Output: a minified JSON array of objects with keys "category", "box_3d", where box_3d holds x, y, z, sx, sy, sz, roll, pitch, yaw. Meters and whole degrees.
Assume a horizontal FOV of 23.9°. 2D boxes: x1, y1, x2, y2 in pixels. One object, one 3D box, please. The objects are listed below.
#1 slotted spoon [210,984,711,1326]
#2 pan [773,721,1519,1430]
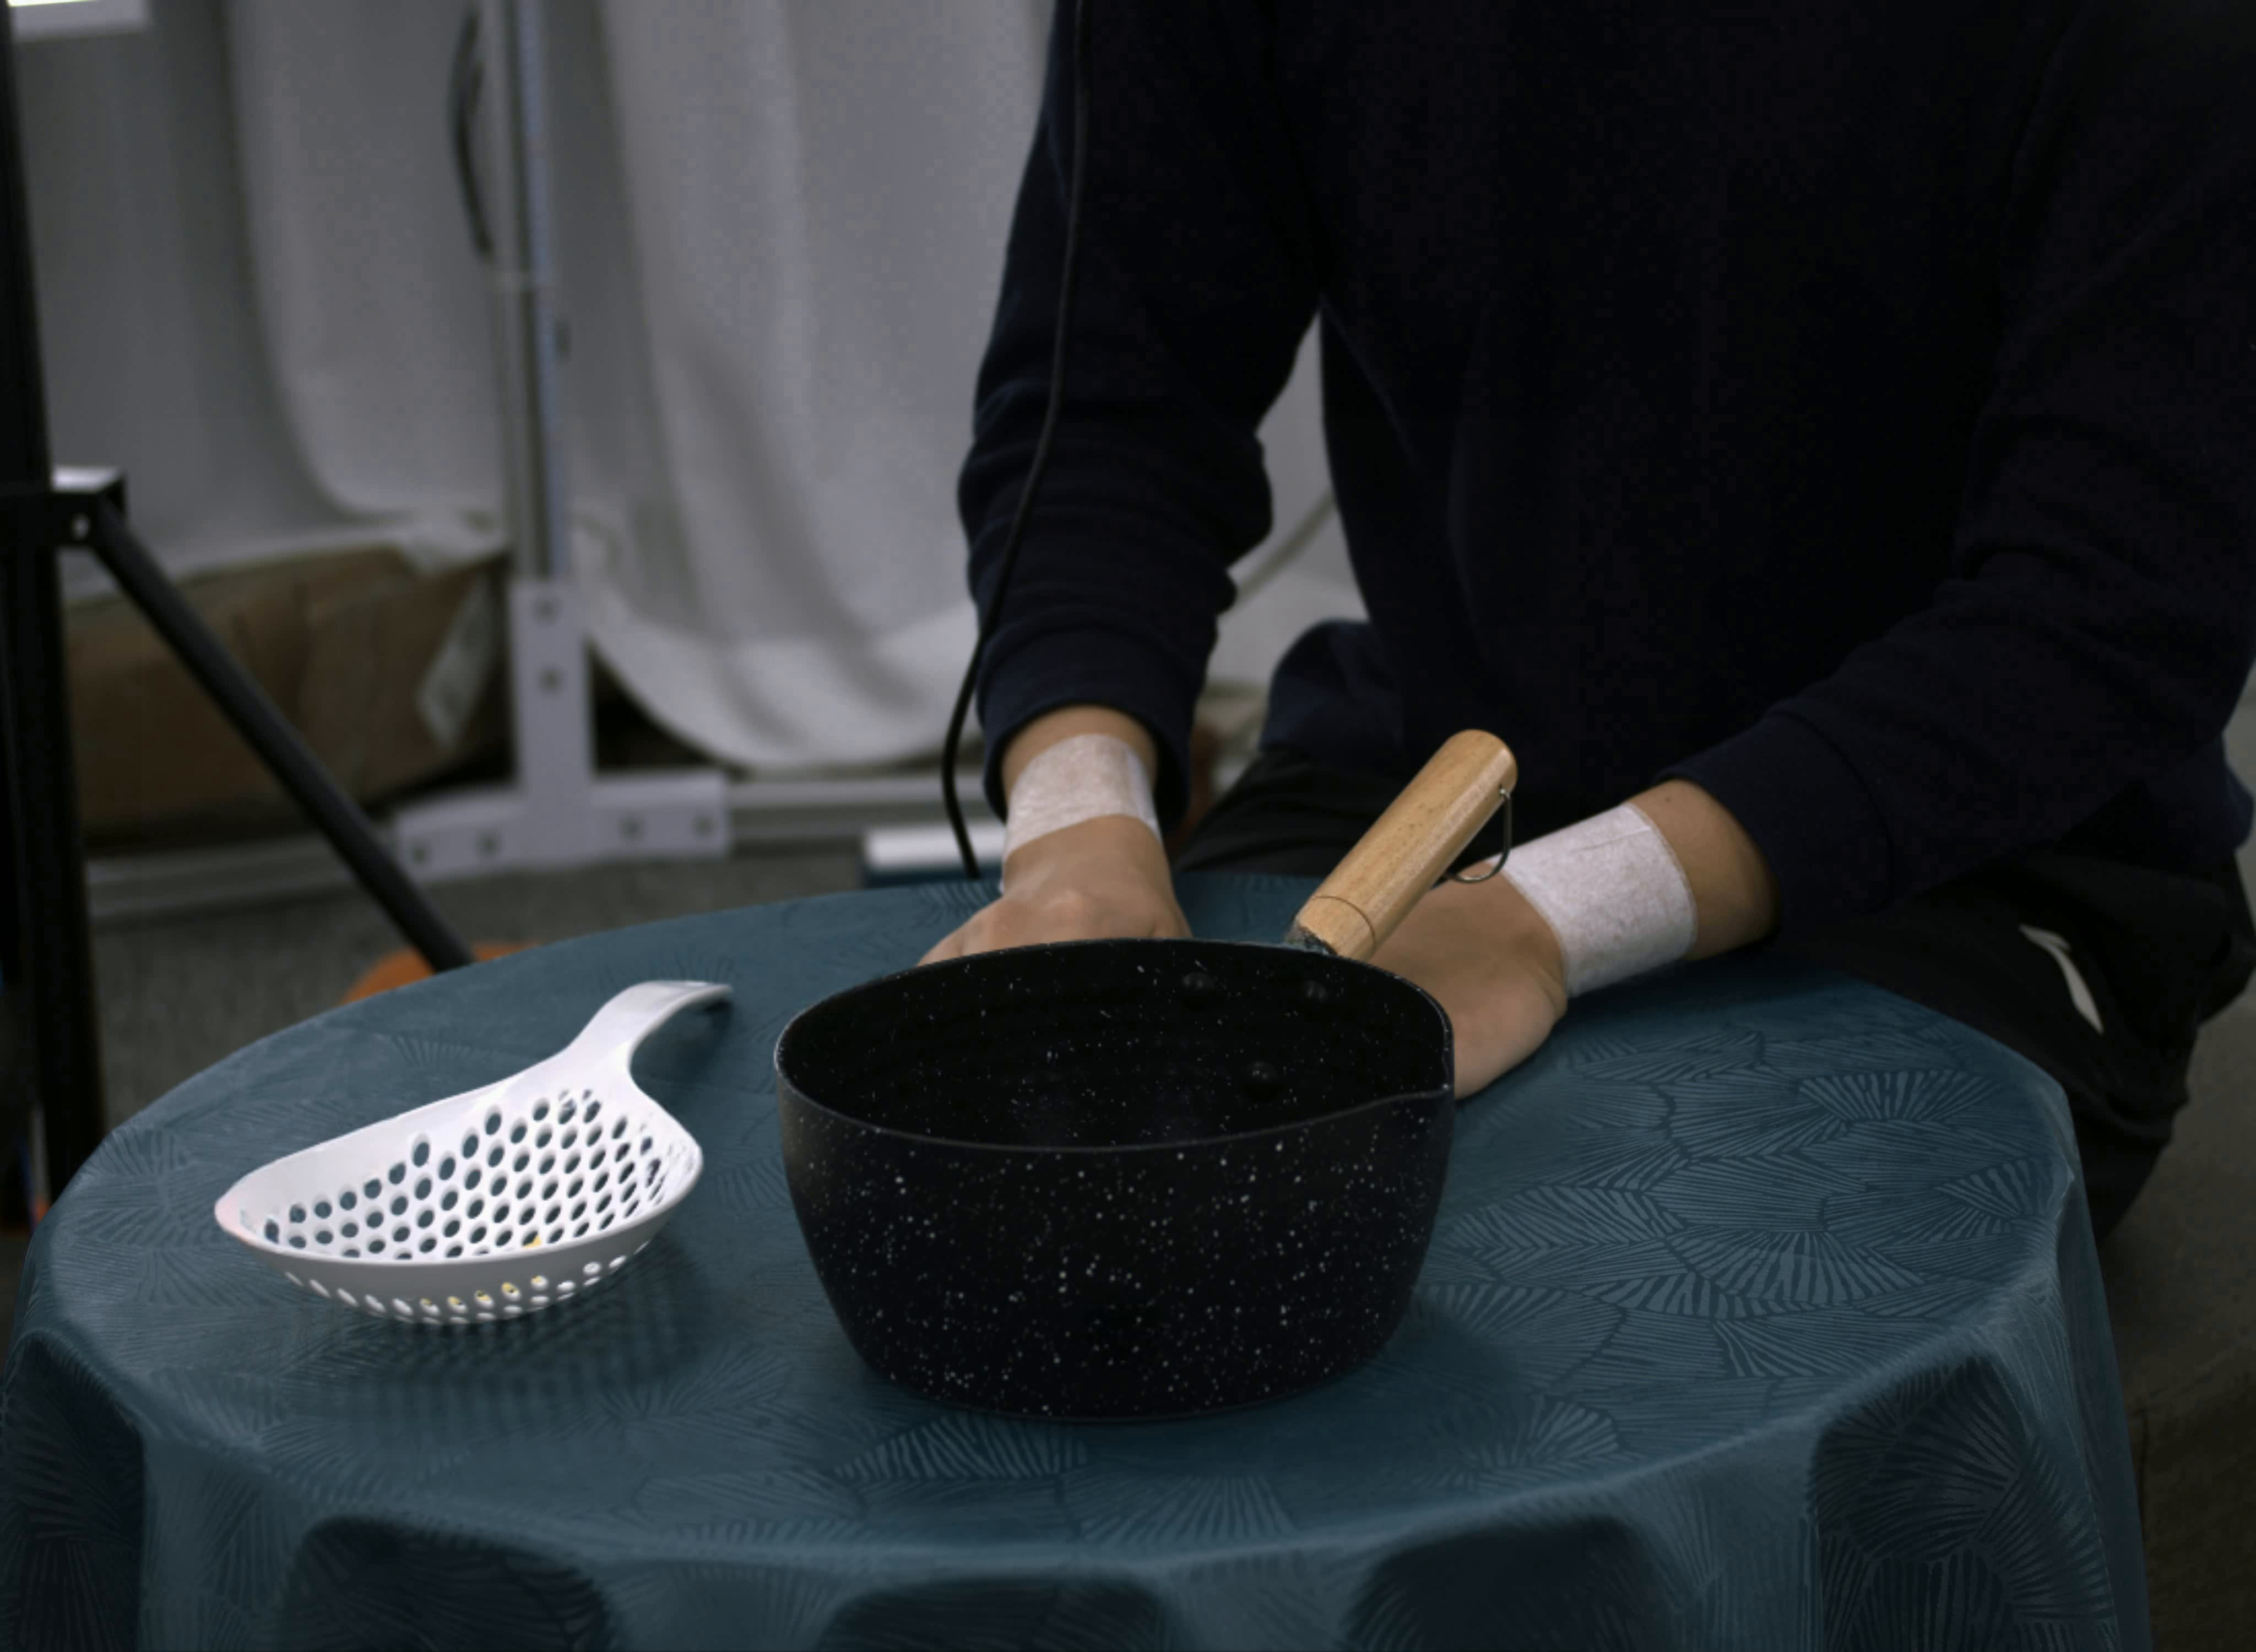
[{"category":"slotted spoon","box_3d":[-0.167,0.084,1.592,0.137,0.050,0.347,-2,17,10]},{"category":"pan","box_3d":[0.033,0.065,1.506,0.211,0.108,0.337,4,18,27]}]
